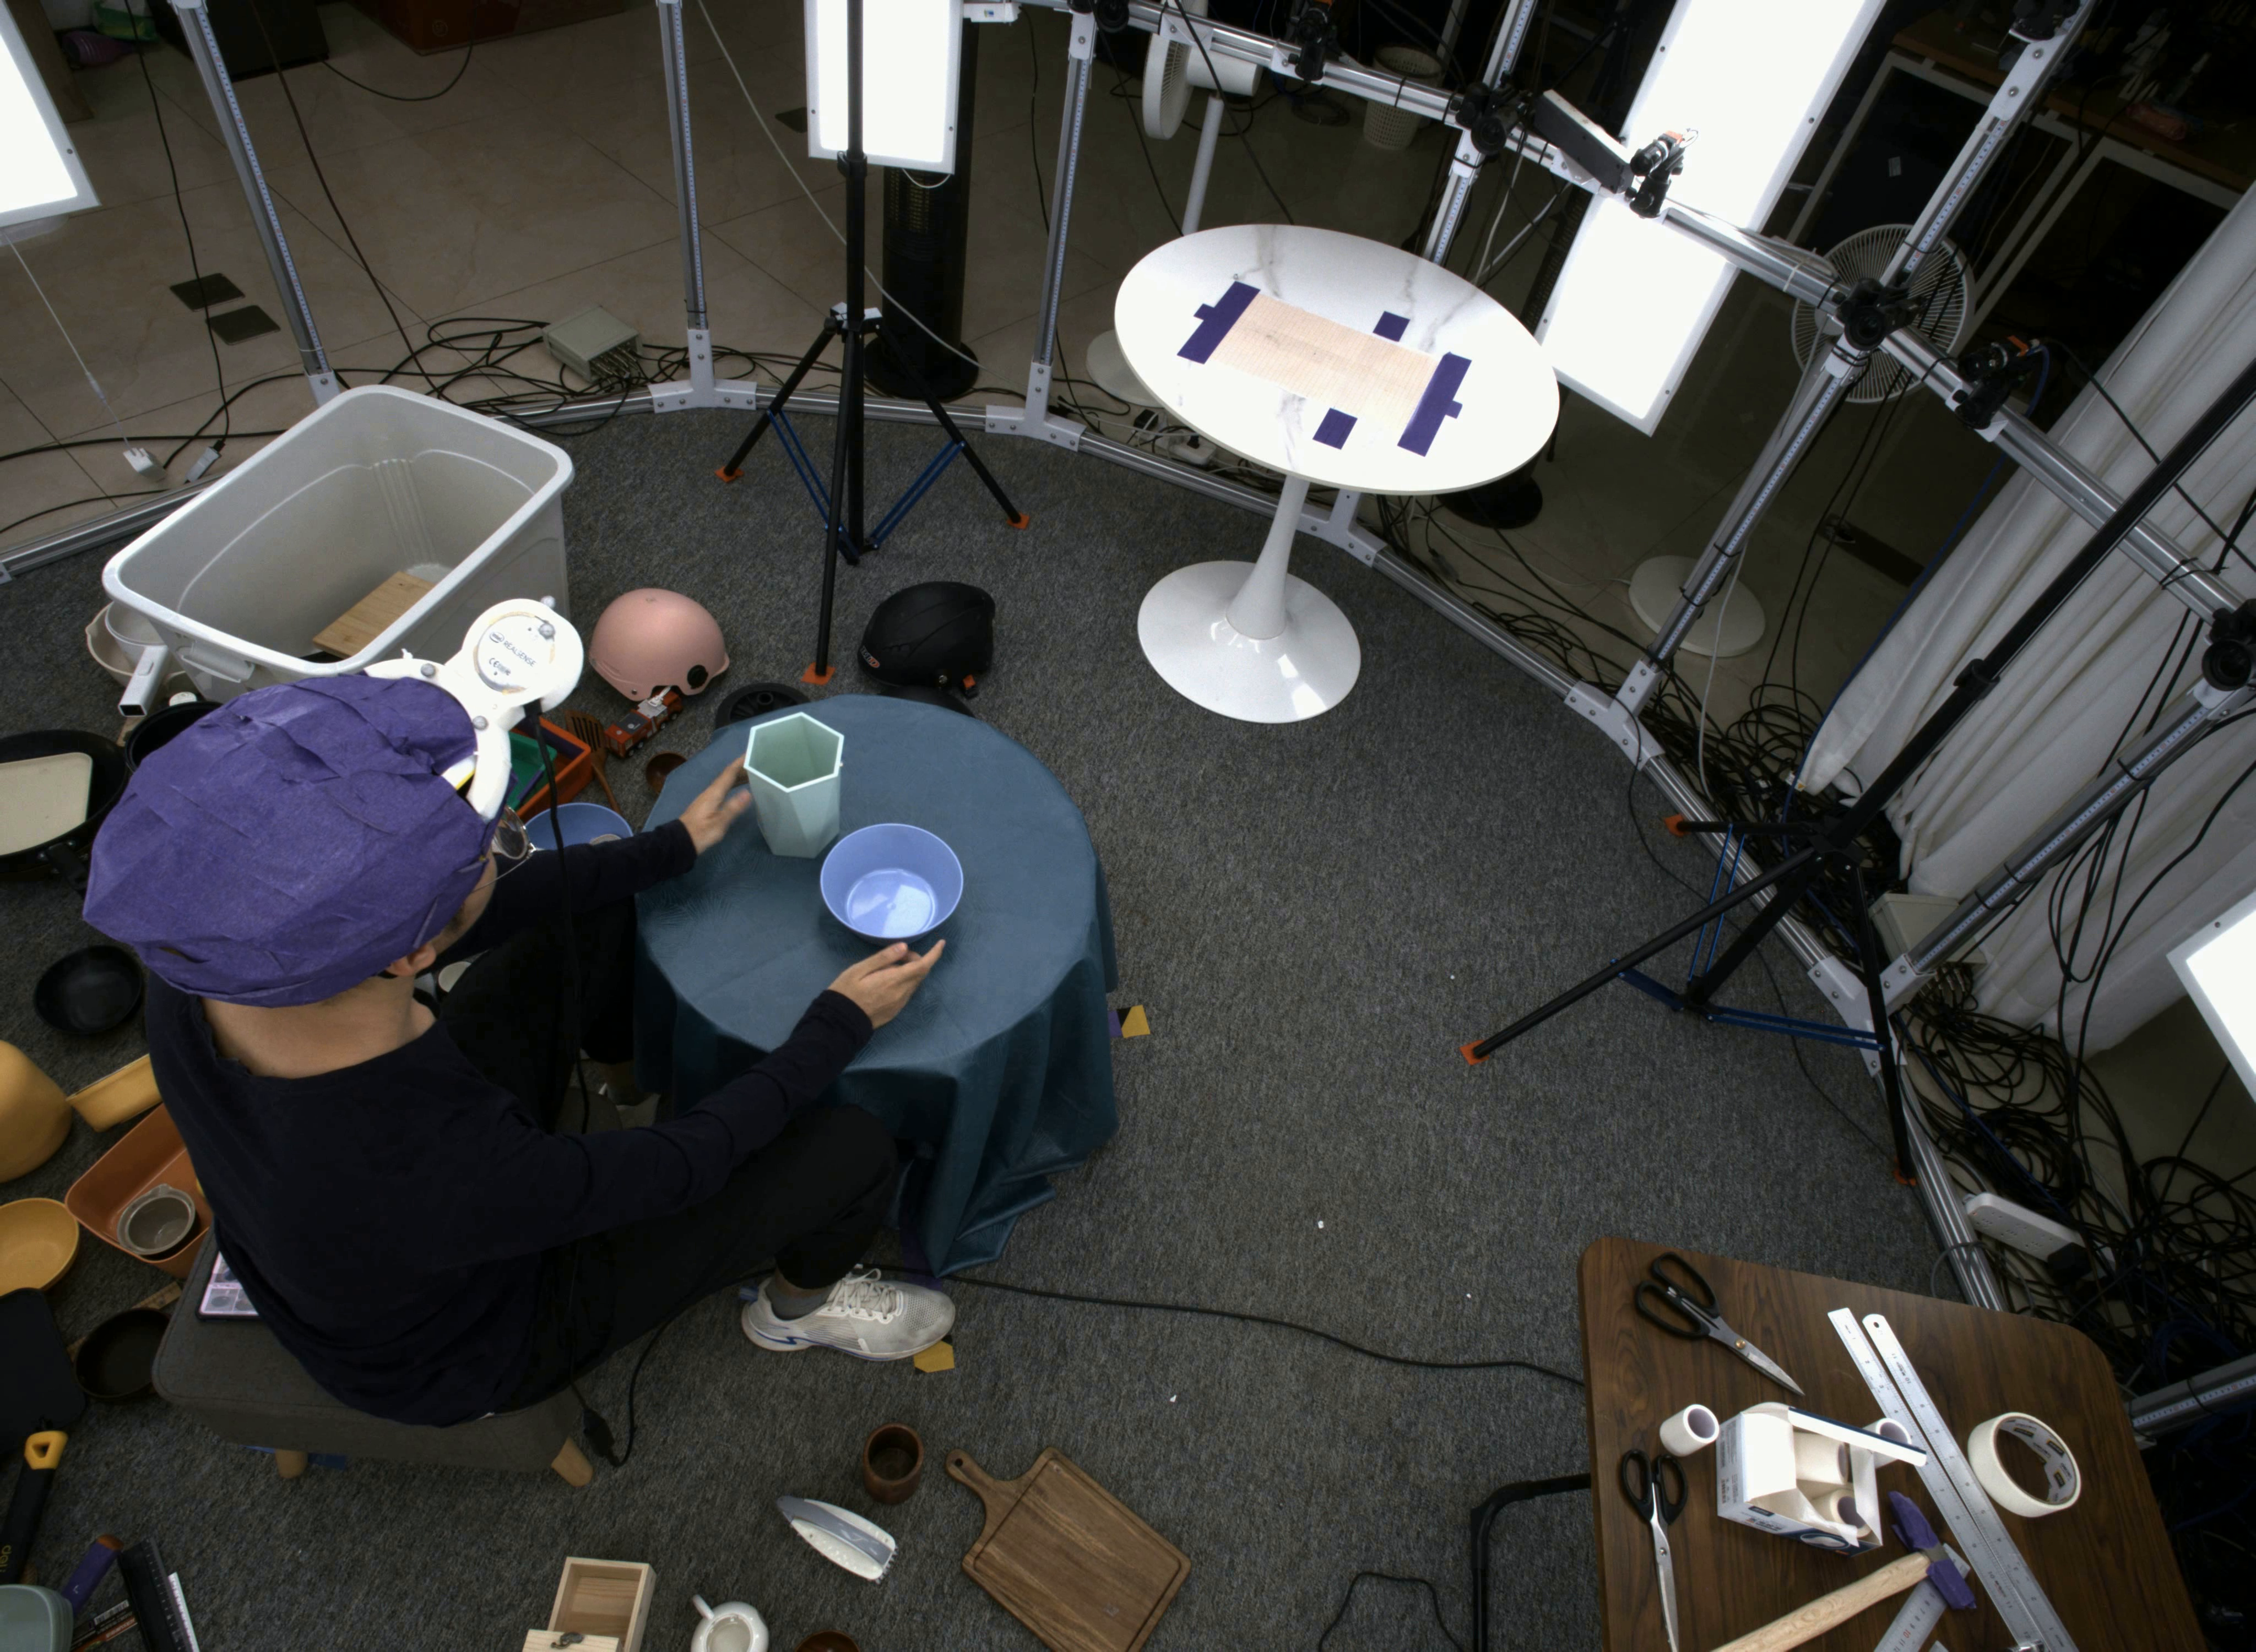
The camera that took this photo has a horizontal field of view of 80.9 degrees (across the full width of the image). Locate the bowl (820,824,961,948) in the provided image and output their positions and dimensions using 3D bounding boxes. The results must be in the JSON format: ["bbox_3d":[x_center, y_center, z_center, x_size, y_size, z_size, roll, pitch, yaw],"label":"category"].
[{"bbox_3d":[-0.300,0.086,1.647,0.175,0.072,0.173,7,53,-8],"label":"bowl"}]

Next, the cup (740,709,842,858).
[{"bbox_3d":[-0.424,-0.047,1.656,0.129,0.167,0.114,25,54,10],"label":"cup"}]
